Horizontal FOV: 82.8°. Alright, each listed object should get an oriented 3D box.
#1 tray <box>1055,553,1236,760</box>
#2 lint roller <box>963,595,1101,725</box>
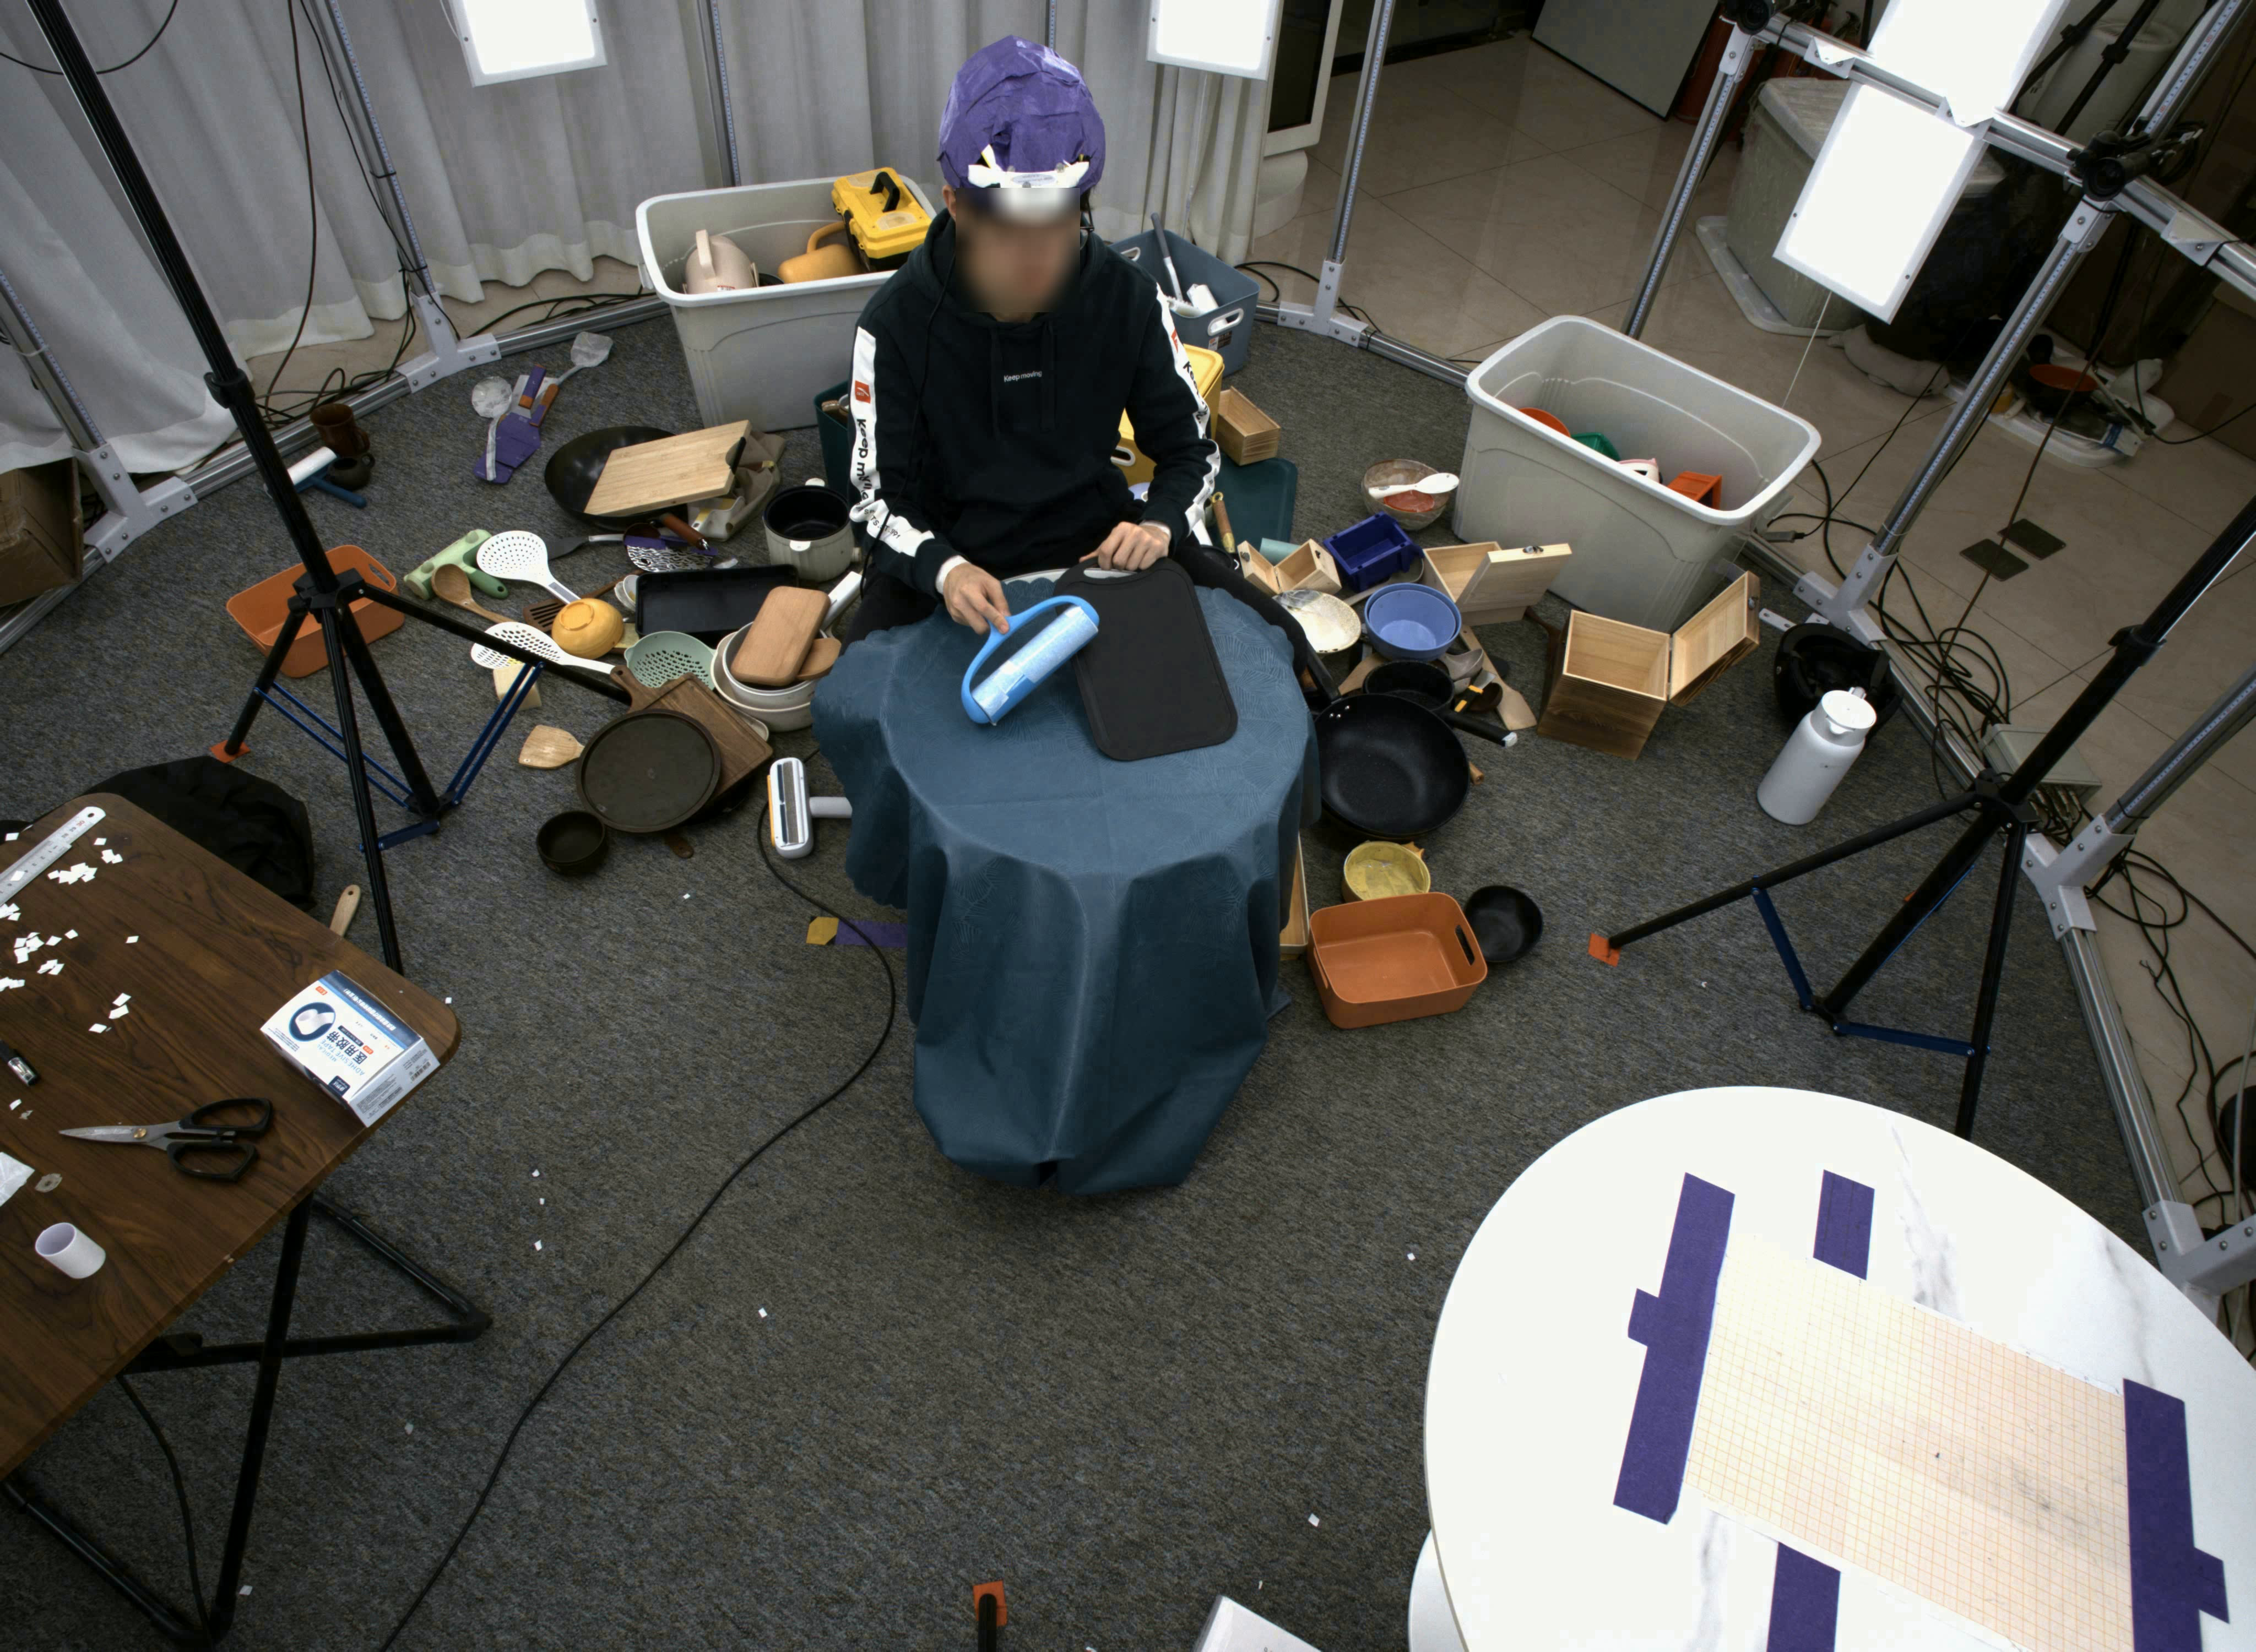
[{"bbox_3d":[0.021,-0.249,1.817,0.211,0.009,0.331,-11,68,-14],"label":"tray"},{"bbox_3d":[-0.169,-0.263,1.790,0.229,0.067,0.182,-45,71,-7],"label":"lint roller"}]
